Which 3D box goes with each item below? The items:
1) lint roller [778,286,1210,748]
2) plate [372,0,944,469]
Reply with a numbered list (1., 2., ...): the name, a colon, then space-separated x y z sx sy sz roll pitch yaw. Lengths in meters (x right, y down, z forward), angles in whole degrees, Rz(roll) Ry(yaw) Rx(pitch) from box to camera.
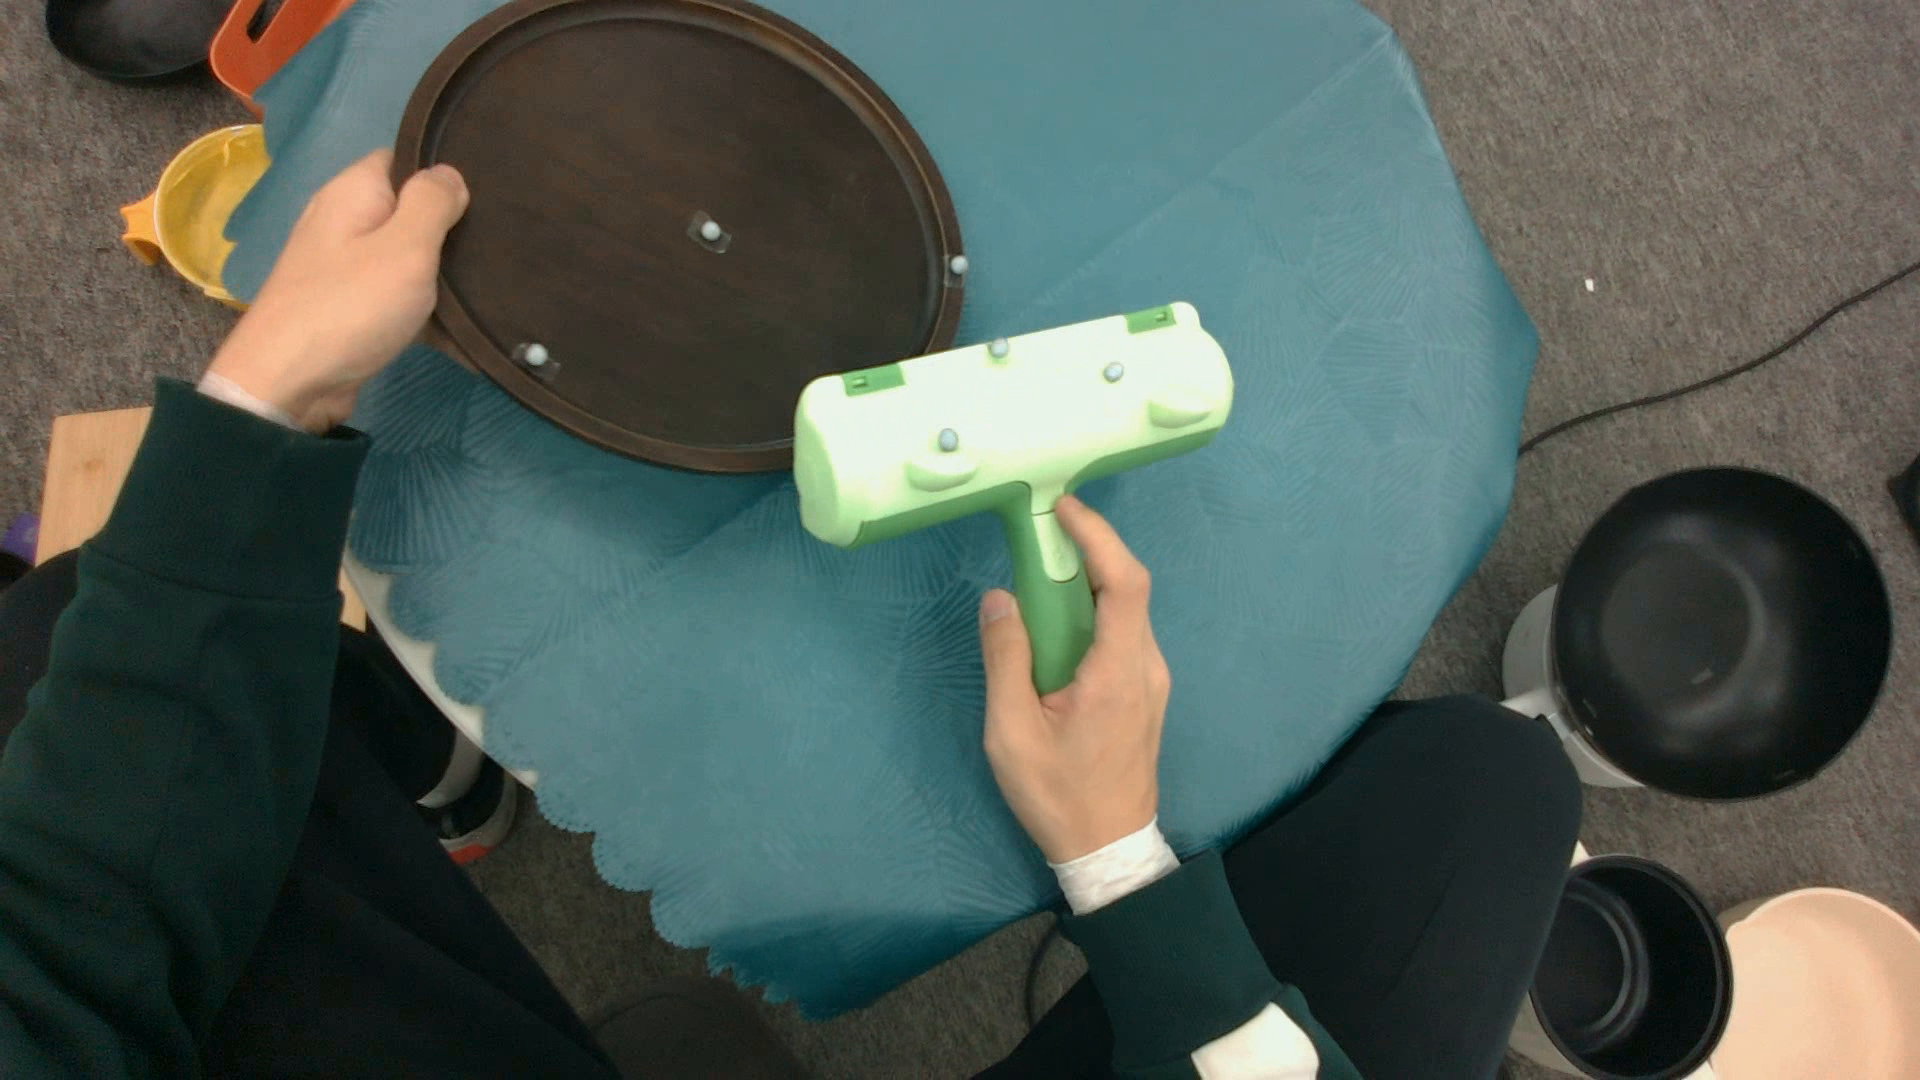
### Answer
1. lint roller: 0.037 -0.001 0.570 0.199 0.082 0.183 -18 92 -30
2. plate: -0.128 -0.146 0.619 0.255 0.029 0.255 10 64 -22
